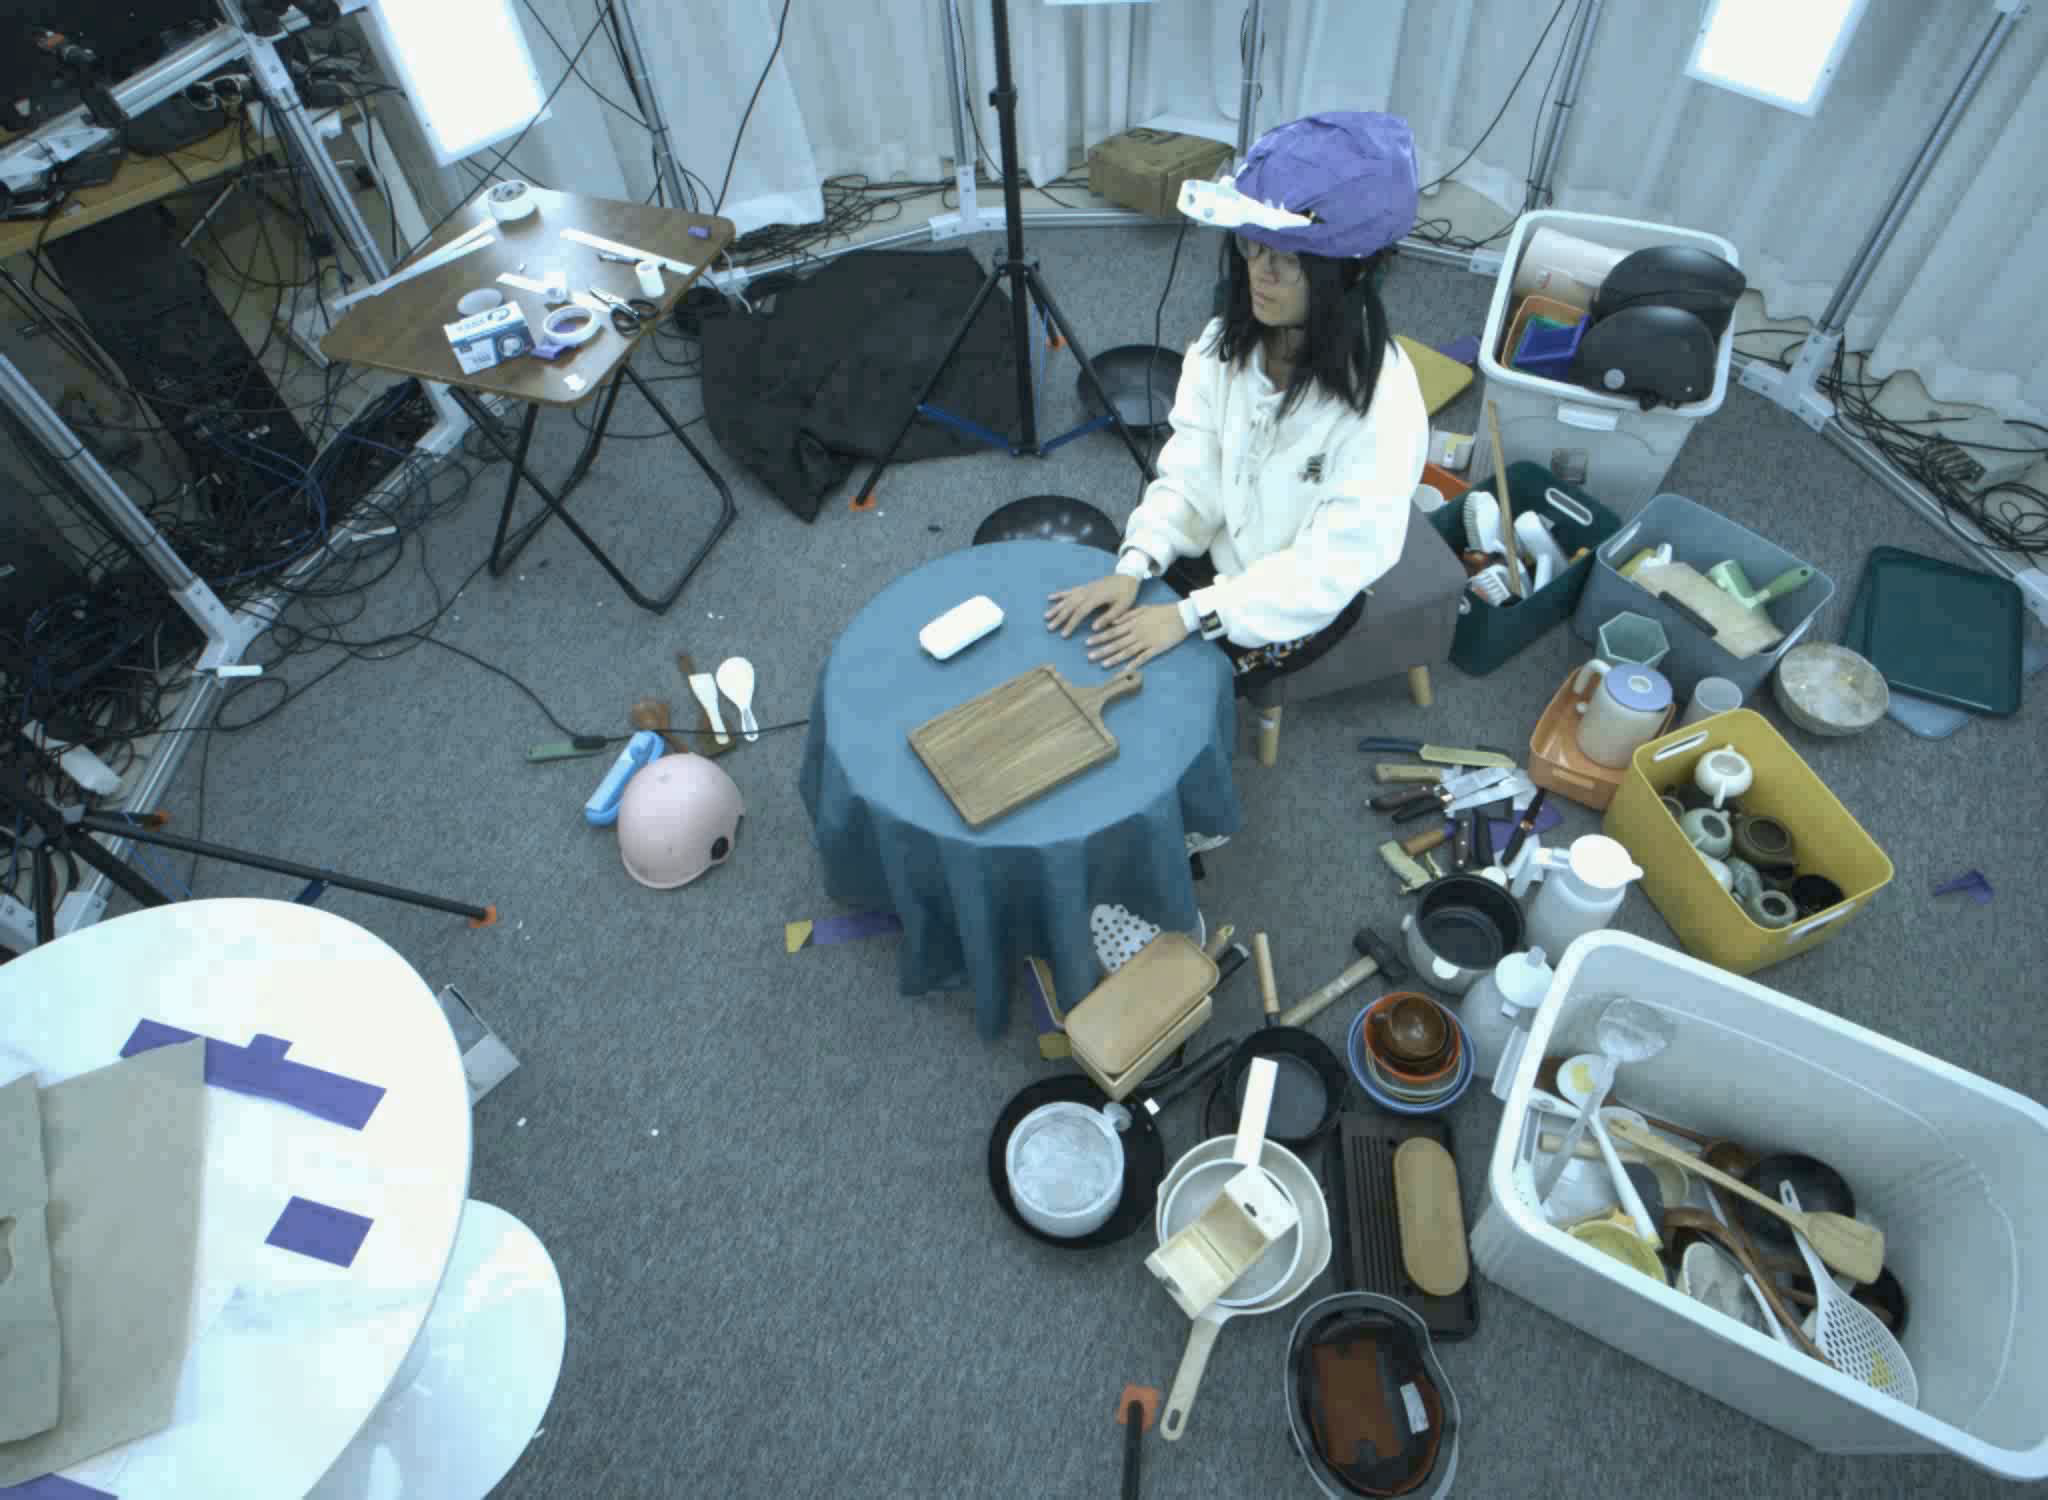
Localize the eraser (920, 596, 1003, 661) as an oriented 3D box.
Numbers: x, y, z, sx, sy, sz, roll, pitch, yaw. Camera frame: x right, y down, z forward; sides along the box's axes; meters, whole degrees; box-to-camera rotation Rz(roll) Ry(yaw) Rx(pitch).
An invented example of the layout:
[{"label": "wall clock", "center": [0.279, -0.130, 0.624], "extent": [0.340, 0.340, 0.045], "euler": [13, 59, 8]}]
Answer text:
[{"label": "eraser", "center": [-0.095, -0.190, 1.906], "extent": [0.132, 0.035, 0.062], "euler": [-33, 59, -19]}]

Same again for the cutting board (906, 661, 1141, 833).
[{"label": "cutting board", "center": [0.024, -0.033, 1.797], "extent": [0.355, 0.023, 0.197], "euler": [-29, 59, -17]}]
